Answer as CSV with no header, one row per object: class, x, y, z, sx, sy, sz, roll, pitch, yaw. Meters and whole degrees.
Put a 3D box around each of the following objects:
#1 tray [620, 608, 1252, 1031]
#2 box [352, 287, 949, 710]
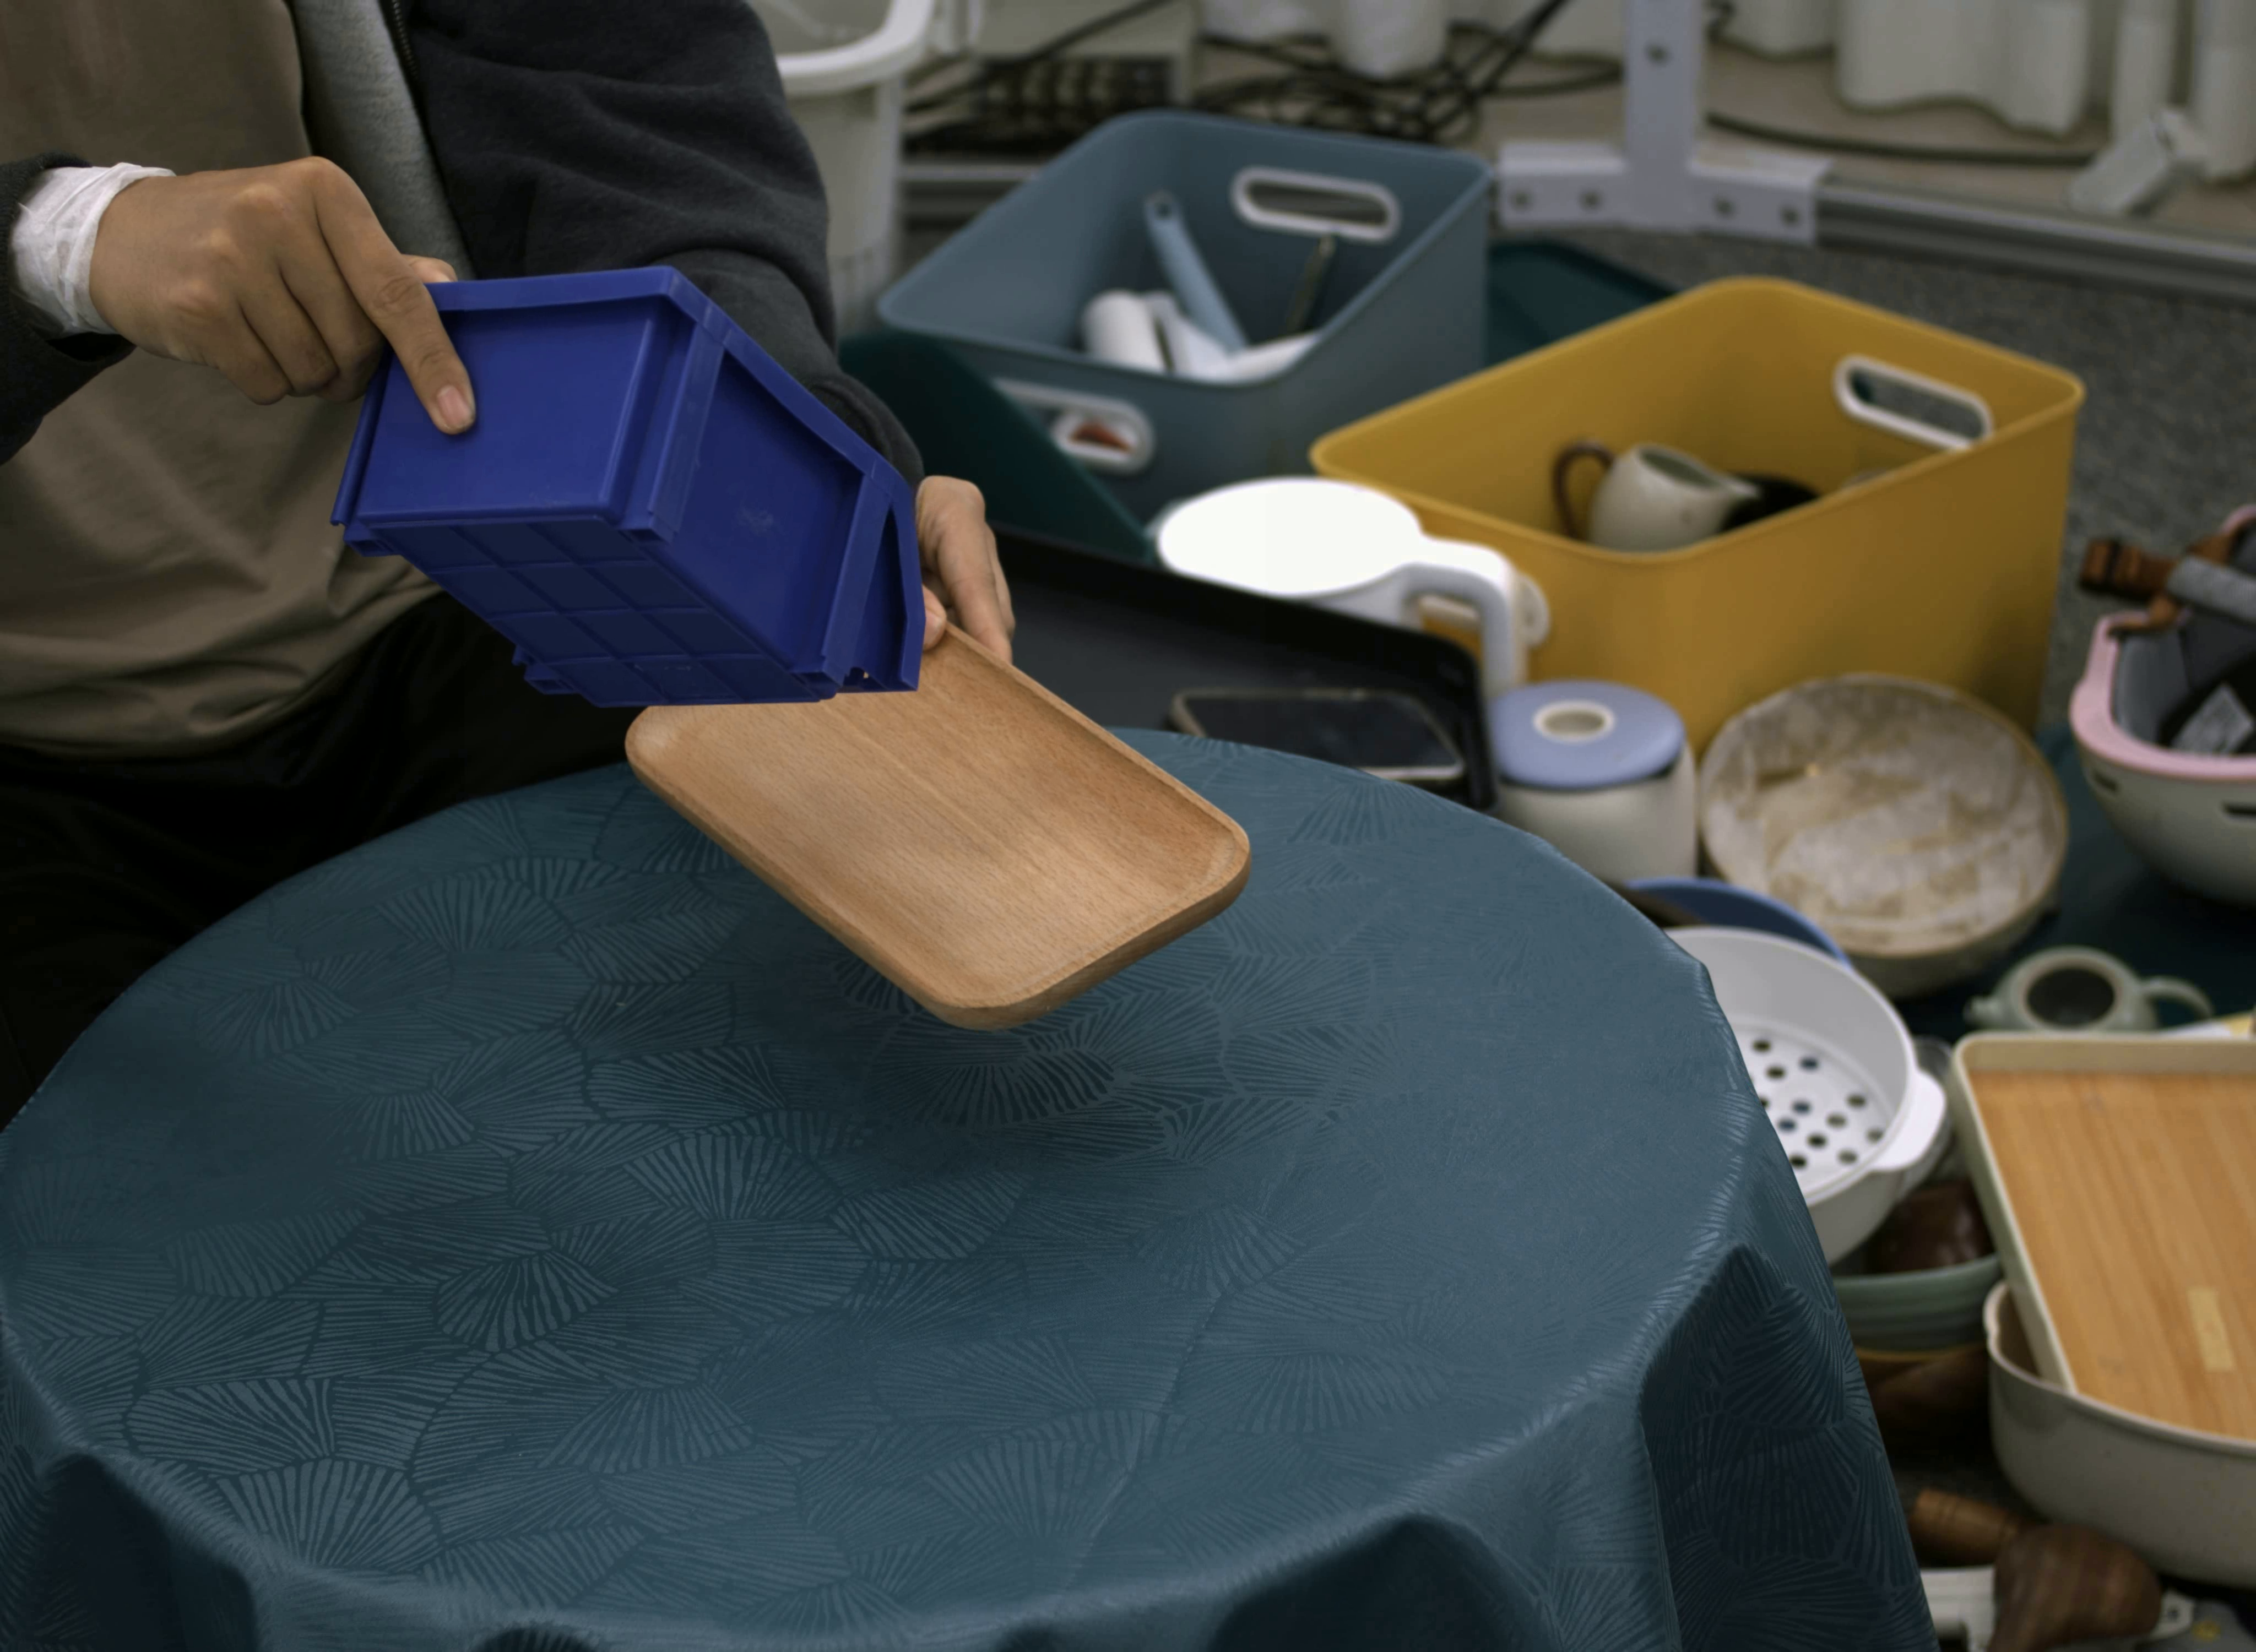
tray,-0.068,-0.007,1.928,0.131,0.022,0.251,-26,36,-24
box,-0.154,-0.097,1.832,0.123,0.083,0.178,-3,-22,33
